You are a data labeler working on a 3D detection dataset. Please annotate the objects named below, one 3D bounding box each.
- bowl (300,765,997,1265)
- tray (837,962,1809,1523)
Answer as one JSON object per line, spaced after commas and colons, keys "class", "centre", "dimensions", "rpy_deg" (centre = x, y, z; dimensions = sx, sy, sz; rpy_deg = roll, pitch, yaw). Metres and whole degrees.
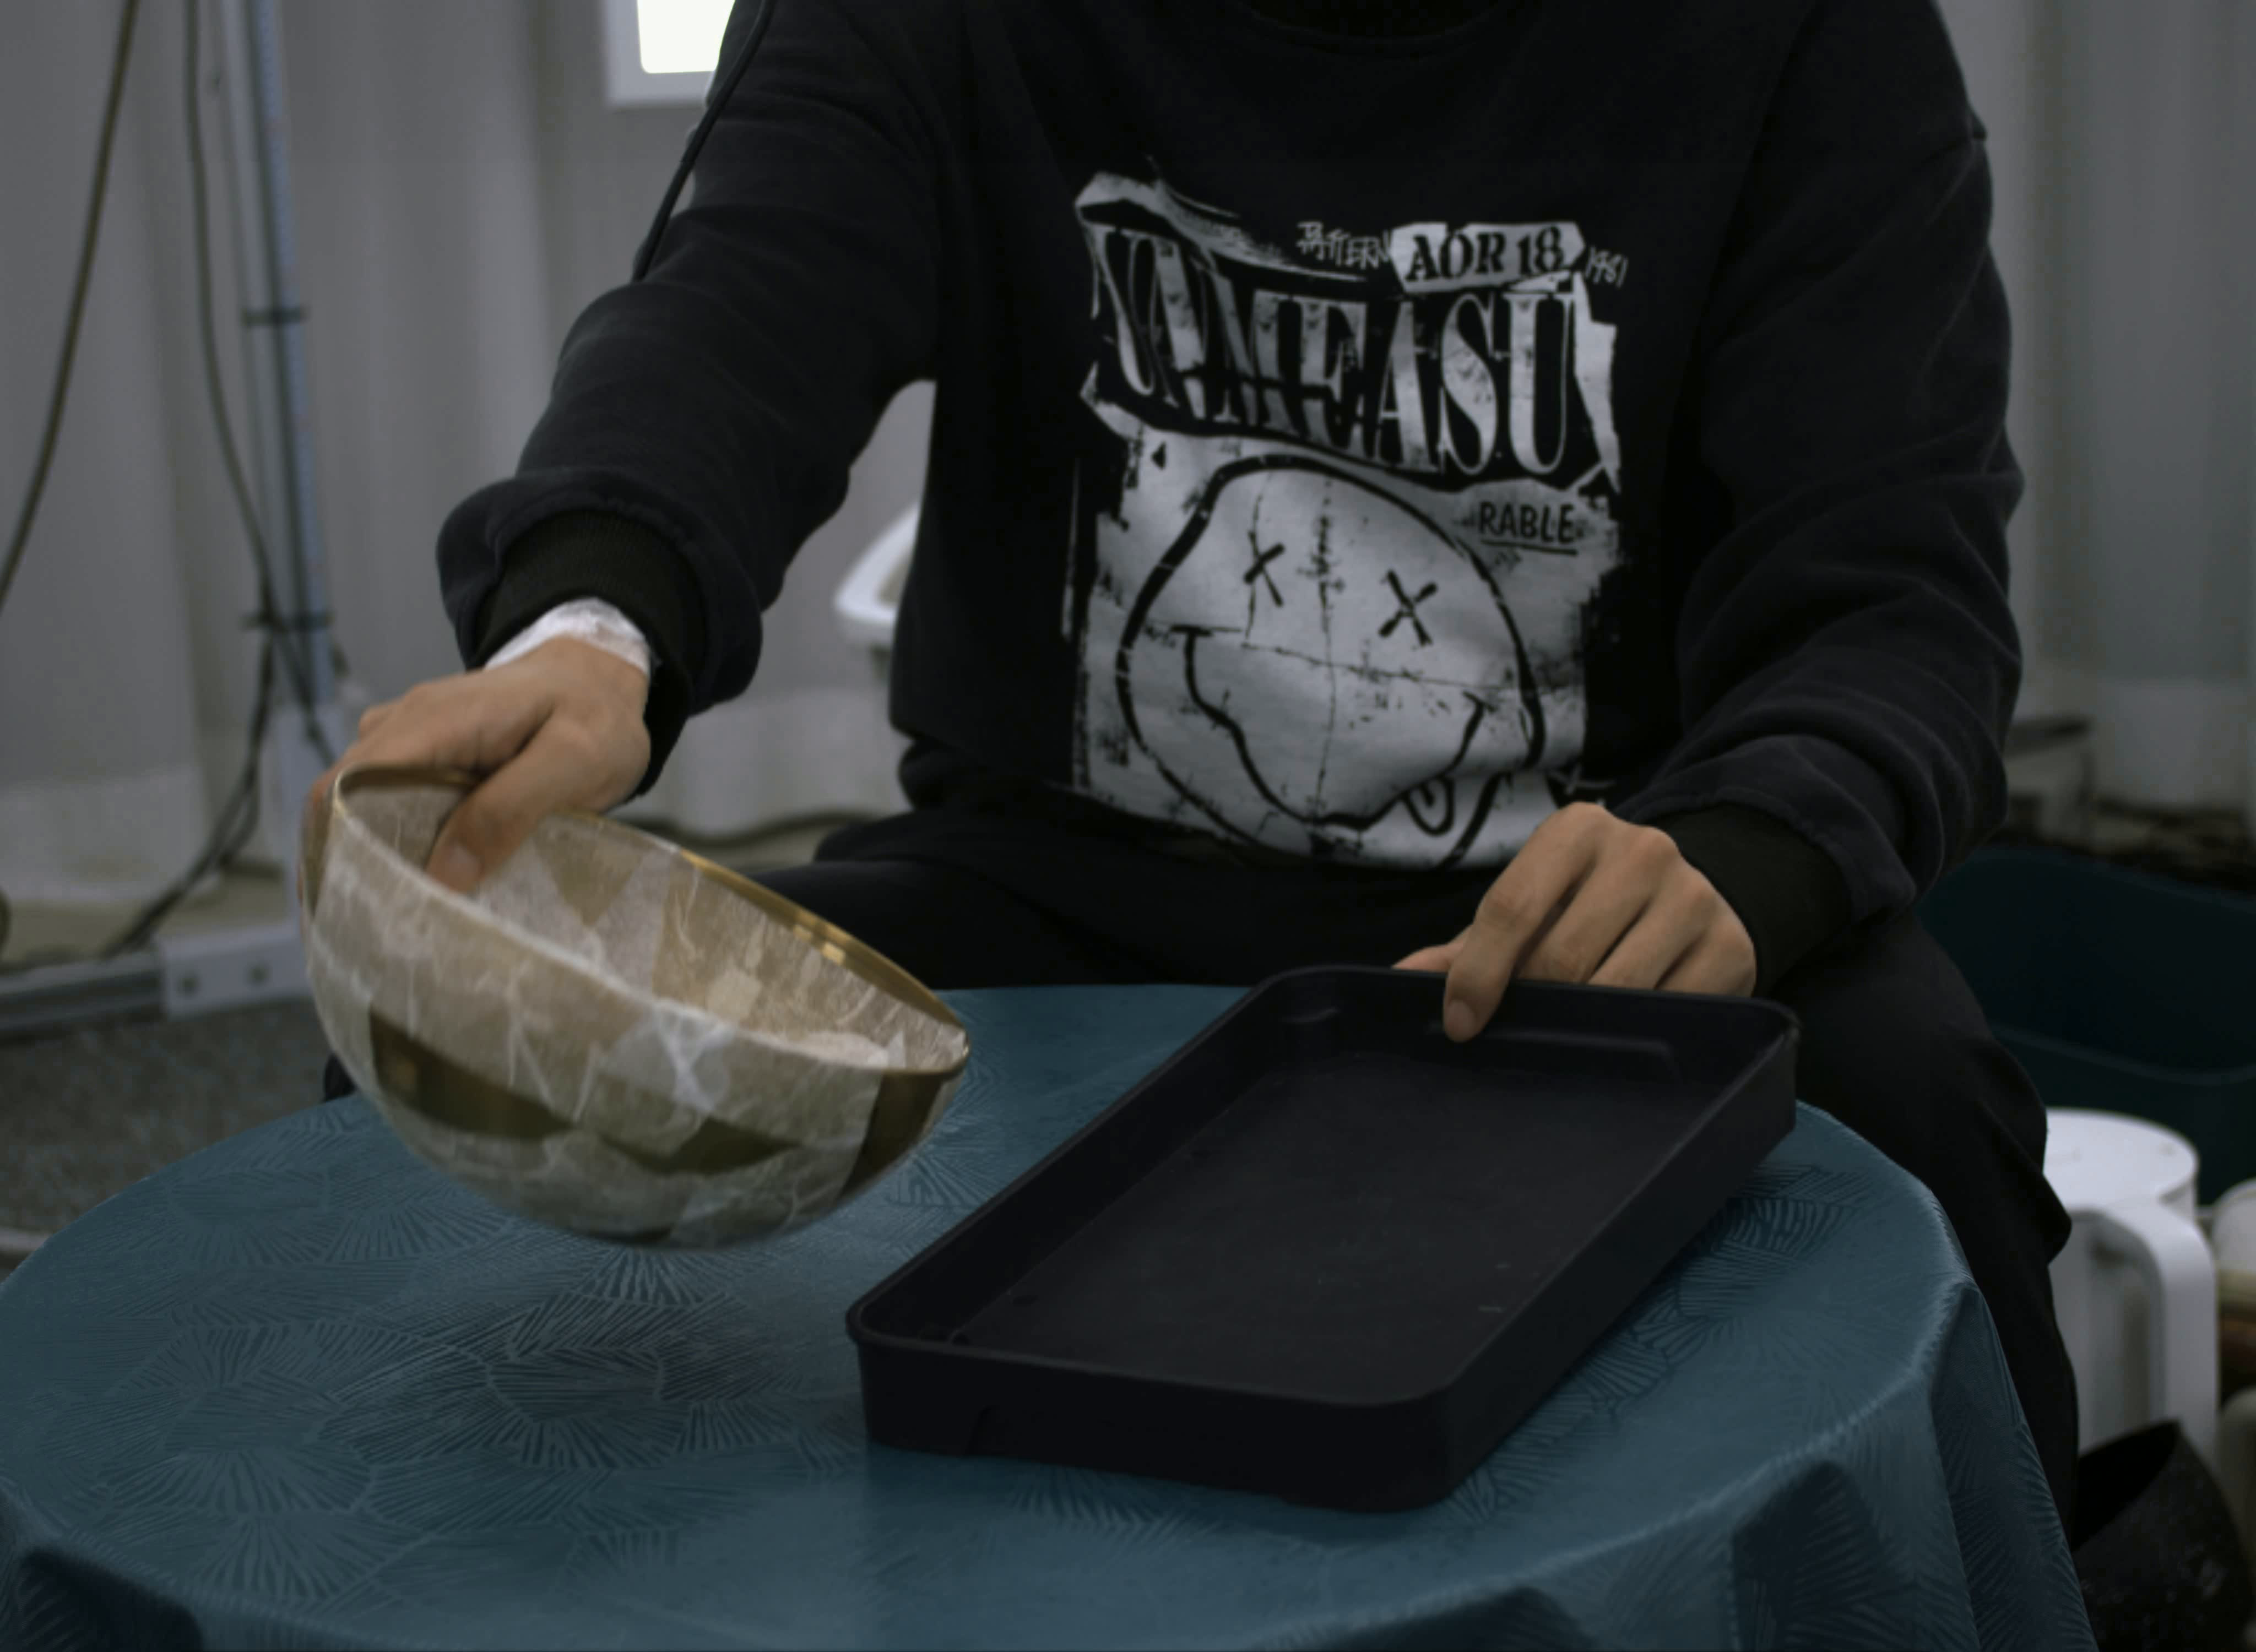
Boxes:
{"class": "bowl", "centre": [-0.150, 0.068, 1.572], "dimensions": [0.214, 0.094, 0.215], "rpy_deg": [22, 9, -4]}
{"class": "tray", "centre": [0.065, 0.114, 1.605], "dimensions": [0.184, 0.037, 0.319], "rpy_deg": [5, 20, 27]}
